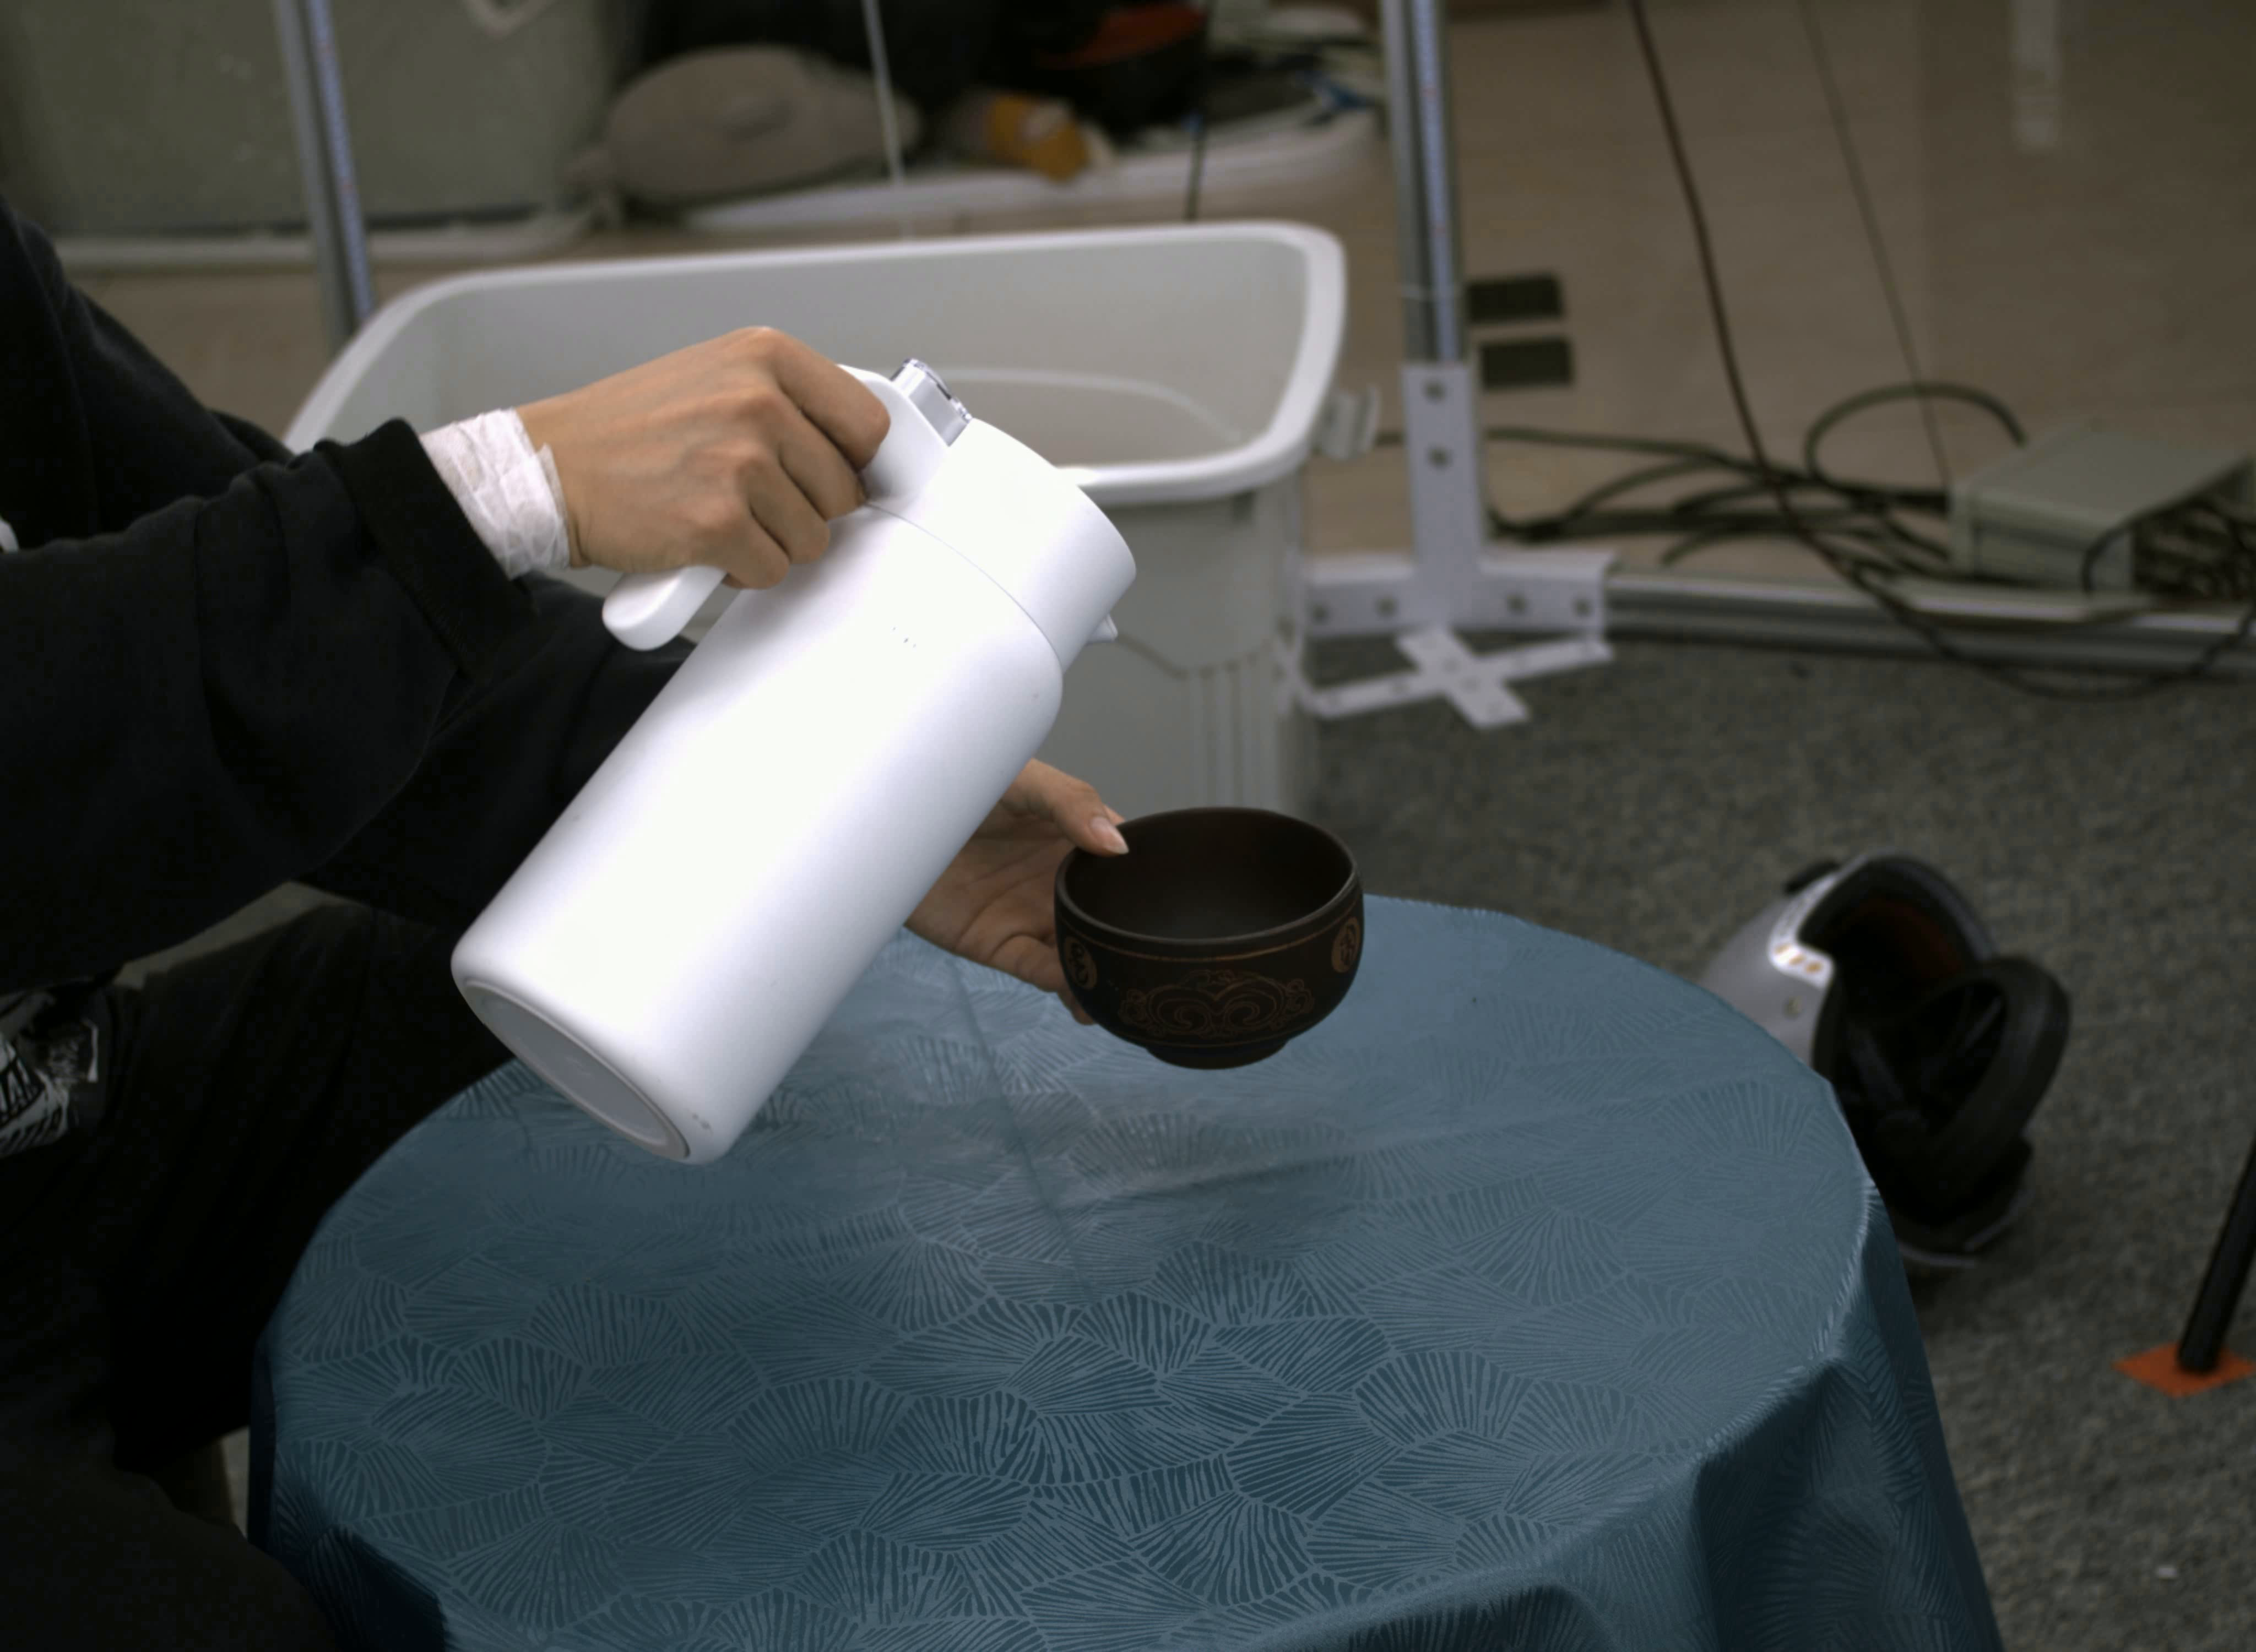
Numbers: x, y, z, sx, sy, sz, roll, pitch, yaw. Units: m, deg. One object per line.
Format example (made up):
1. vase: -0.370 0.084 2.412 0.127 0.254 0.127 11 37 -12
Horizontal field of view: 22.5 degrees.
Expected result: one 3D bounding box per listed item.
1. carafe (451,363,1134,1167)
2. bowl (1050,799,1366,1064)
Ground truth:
1. carafe: -0.122 -0.027 1.971 0.267 0.175 0.123 -51 40 -13
2. bowl: 0.031 0.046 2.114 0.118 0.071 0.116 -4 27 2
